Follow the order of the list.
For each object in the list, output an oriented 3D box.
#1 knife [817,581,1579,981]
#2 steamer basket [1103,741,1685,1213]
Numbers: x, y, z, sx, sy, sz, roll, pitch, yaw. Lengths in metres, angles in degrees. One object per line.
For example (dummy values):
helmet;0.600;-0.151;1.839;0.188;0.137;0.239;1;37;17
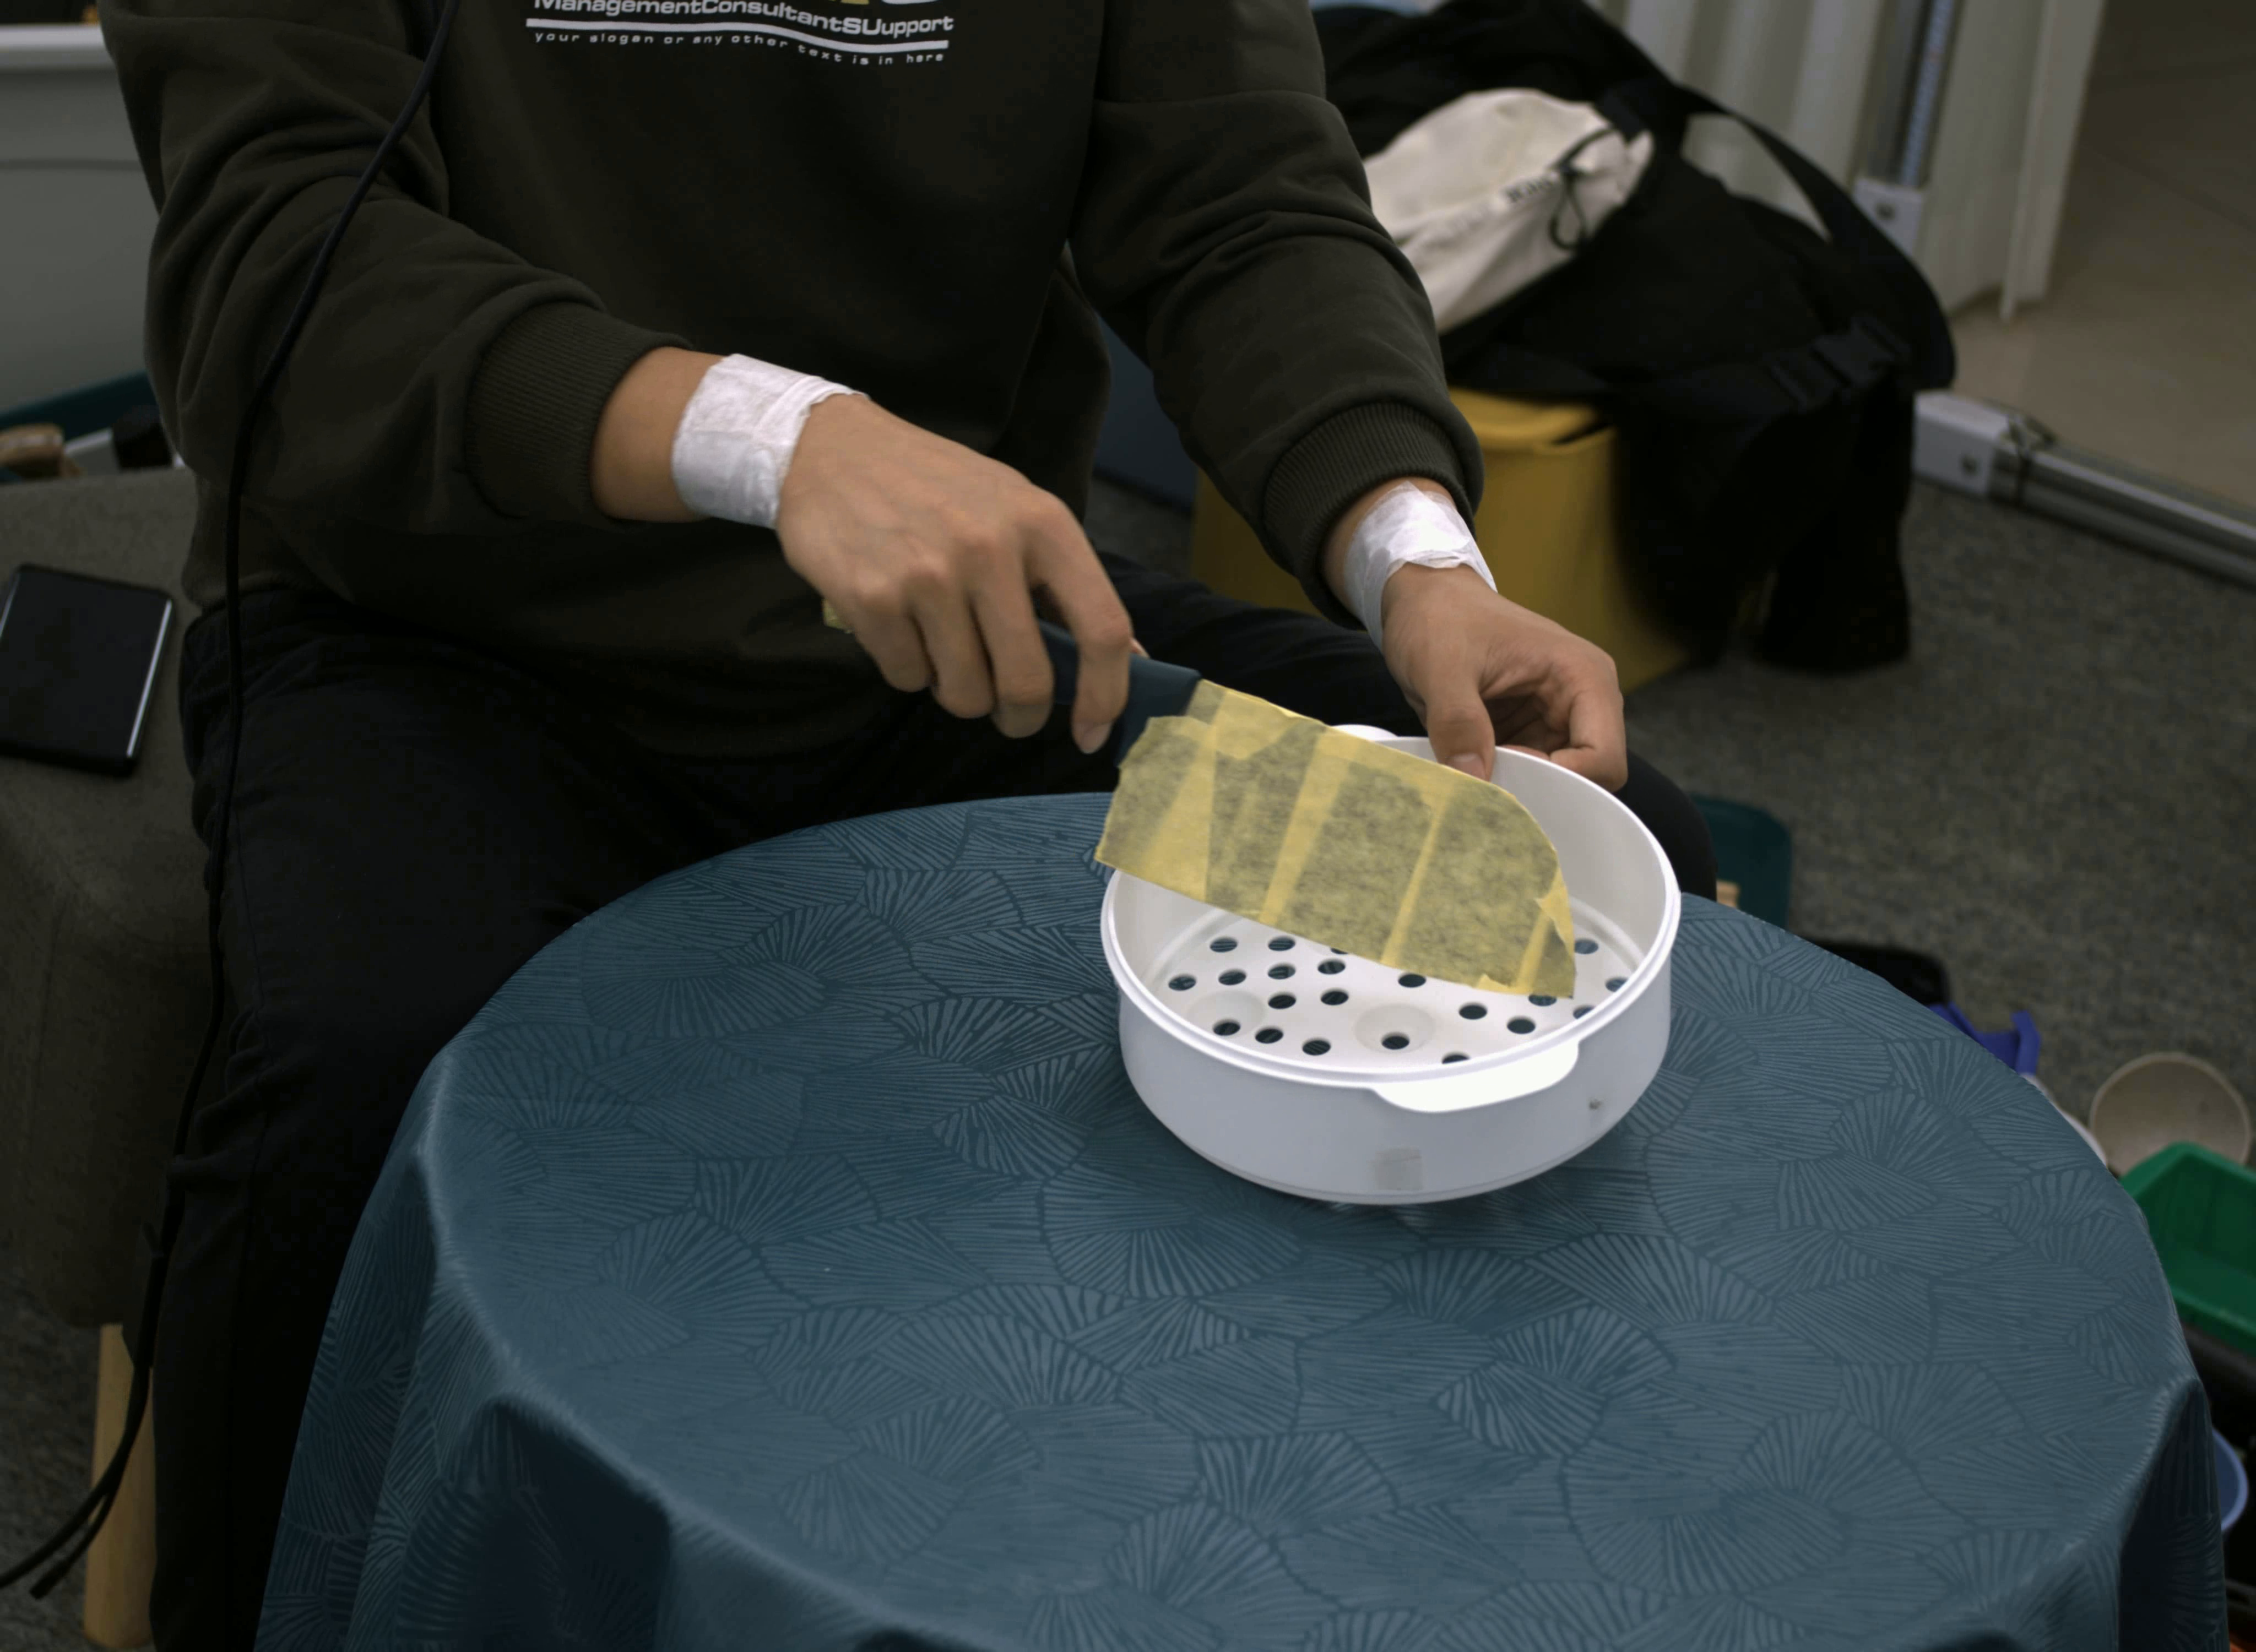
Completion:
knife;0.021;-0.016;1.840;0.289;0.081;0.027;22;0;3
steamer basket;0.093;0.055;1.857;0.201;0.069;0.232;-11;34;-10
